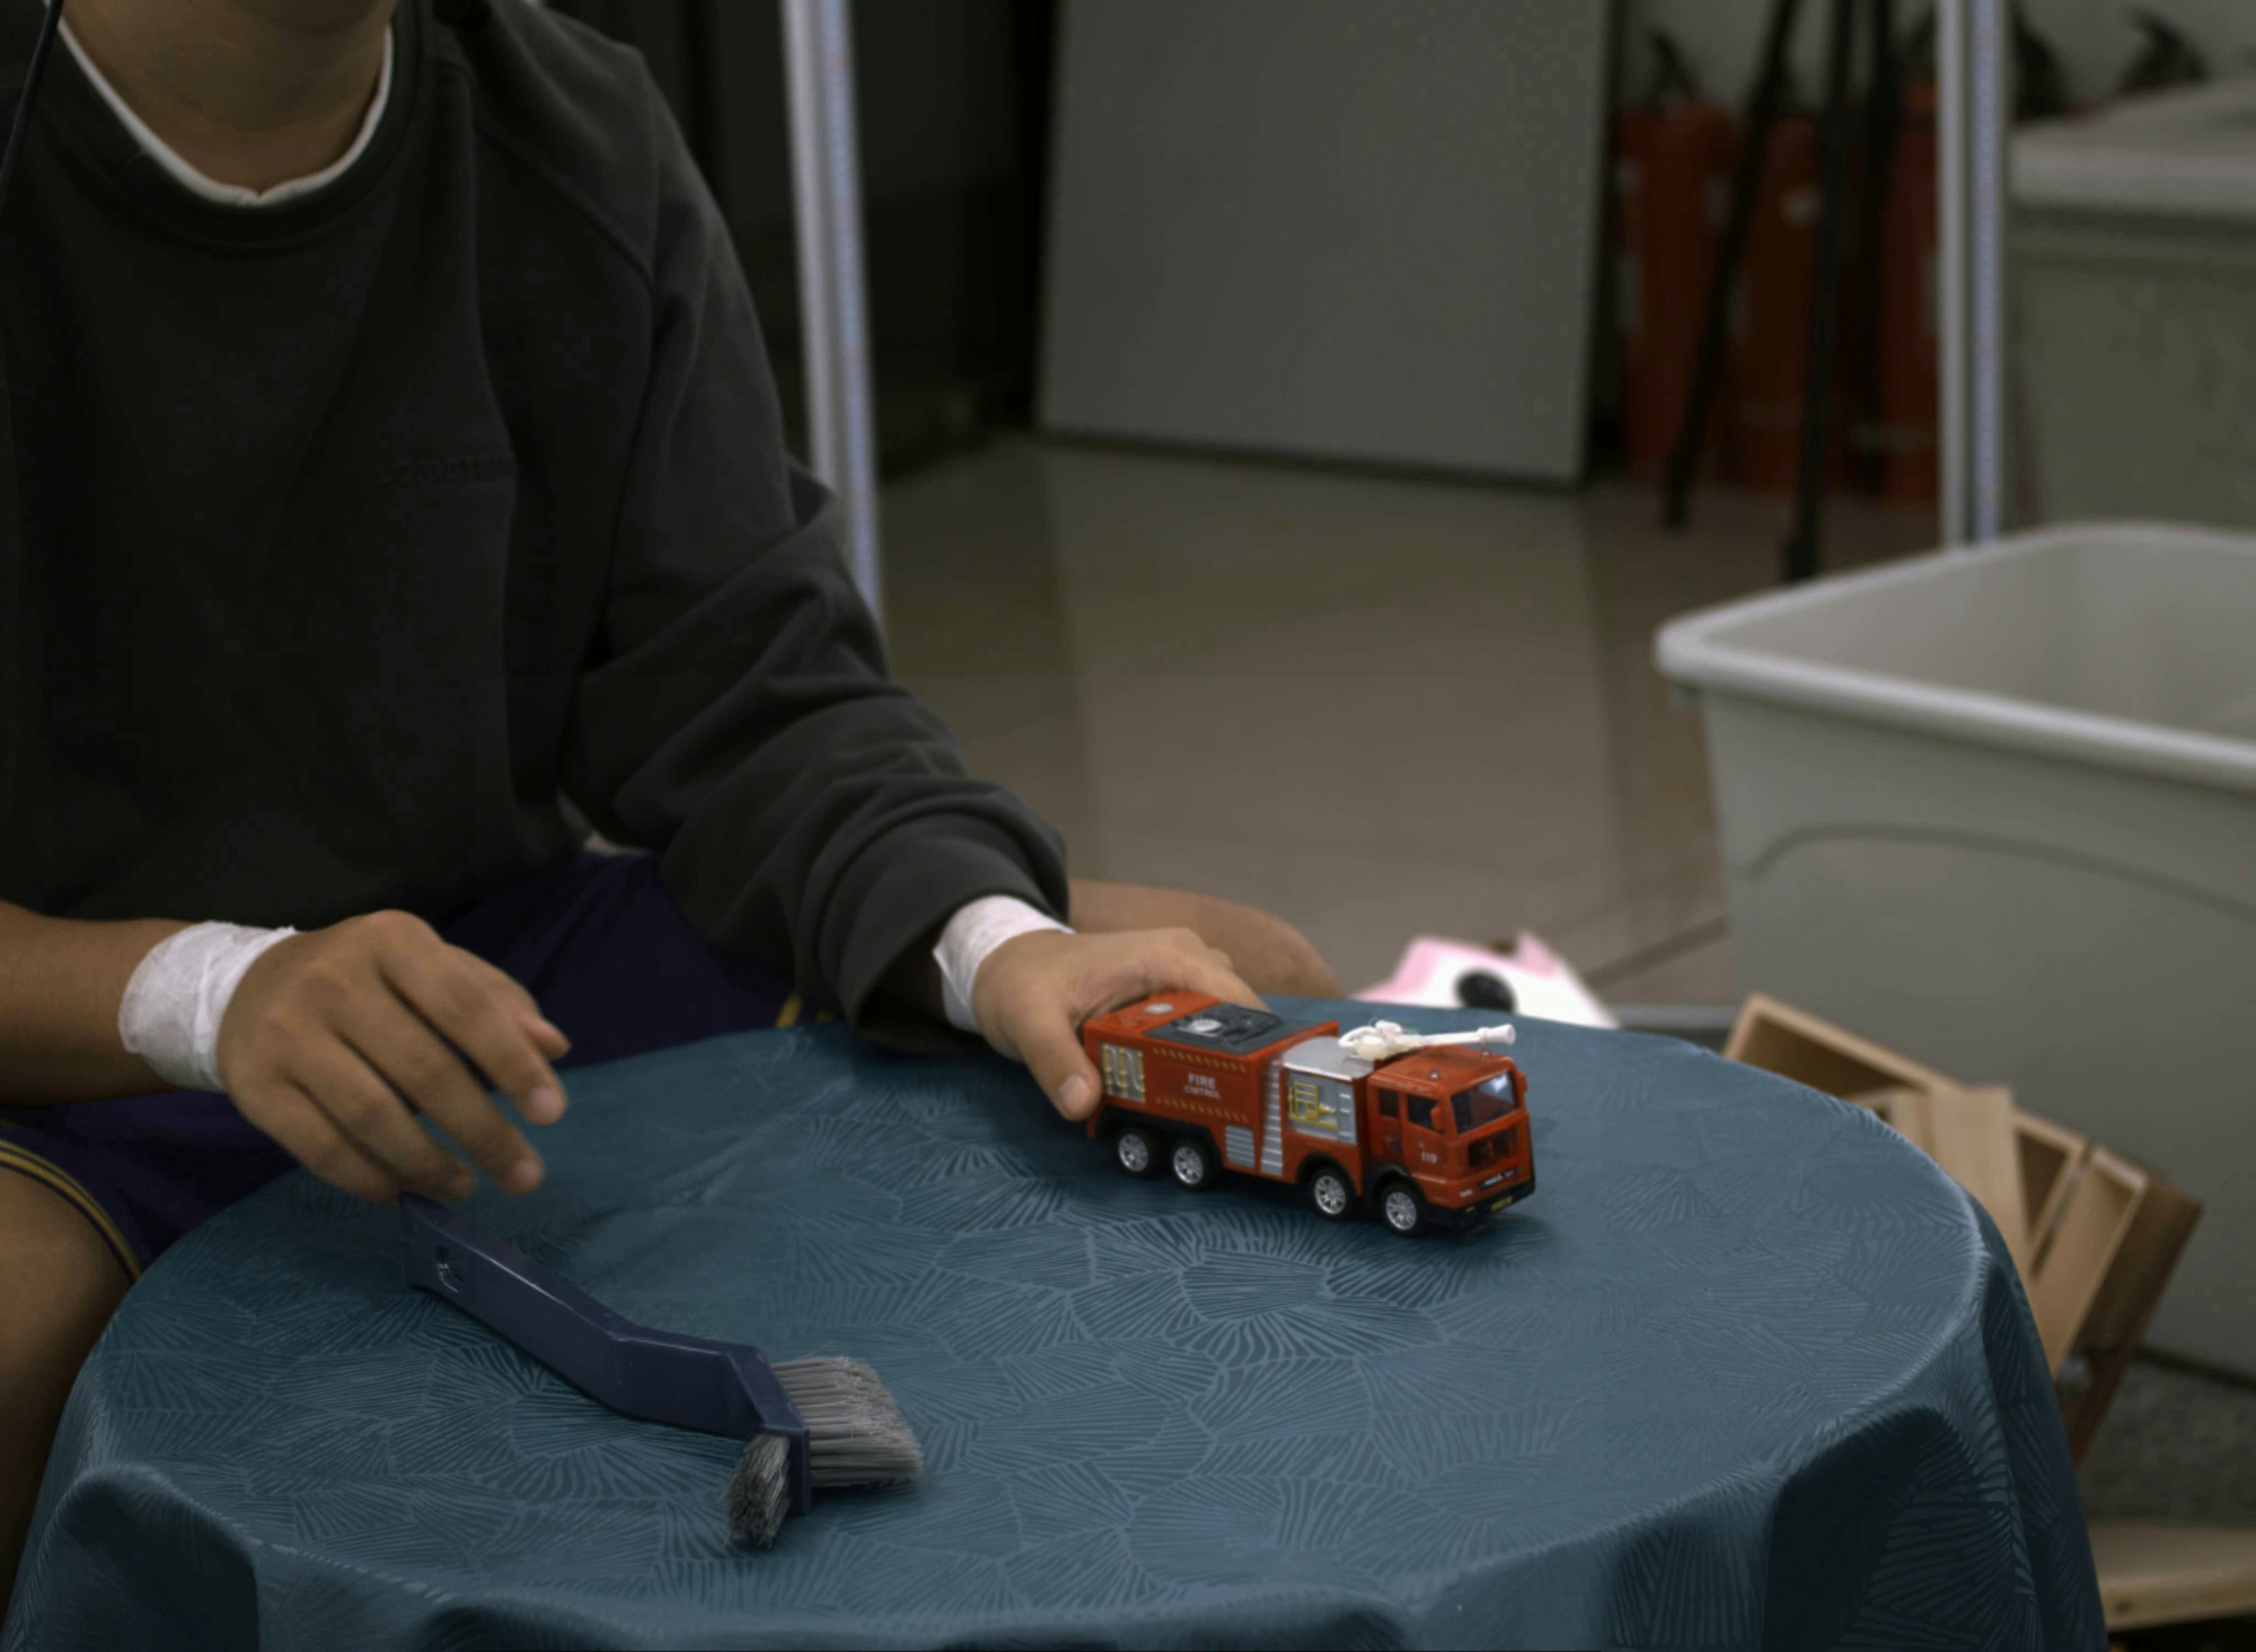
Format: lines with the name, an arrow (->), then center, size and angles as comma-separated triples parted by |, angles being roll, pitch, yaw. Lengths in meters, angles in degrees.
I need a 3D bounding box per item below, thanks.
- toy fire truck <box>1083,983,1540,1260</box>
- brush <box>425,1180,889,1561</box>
toy fire truck -> 0.059, 0.092, 1.747 | 0.169, 0.071, 0.053 | 8, 18, 42
brush -> -0.160, 0.157, 1.602 | 0.093, 0.034, 0.276 | -16, 19, -35
